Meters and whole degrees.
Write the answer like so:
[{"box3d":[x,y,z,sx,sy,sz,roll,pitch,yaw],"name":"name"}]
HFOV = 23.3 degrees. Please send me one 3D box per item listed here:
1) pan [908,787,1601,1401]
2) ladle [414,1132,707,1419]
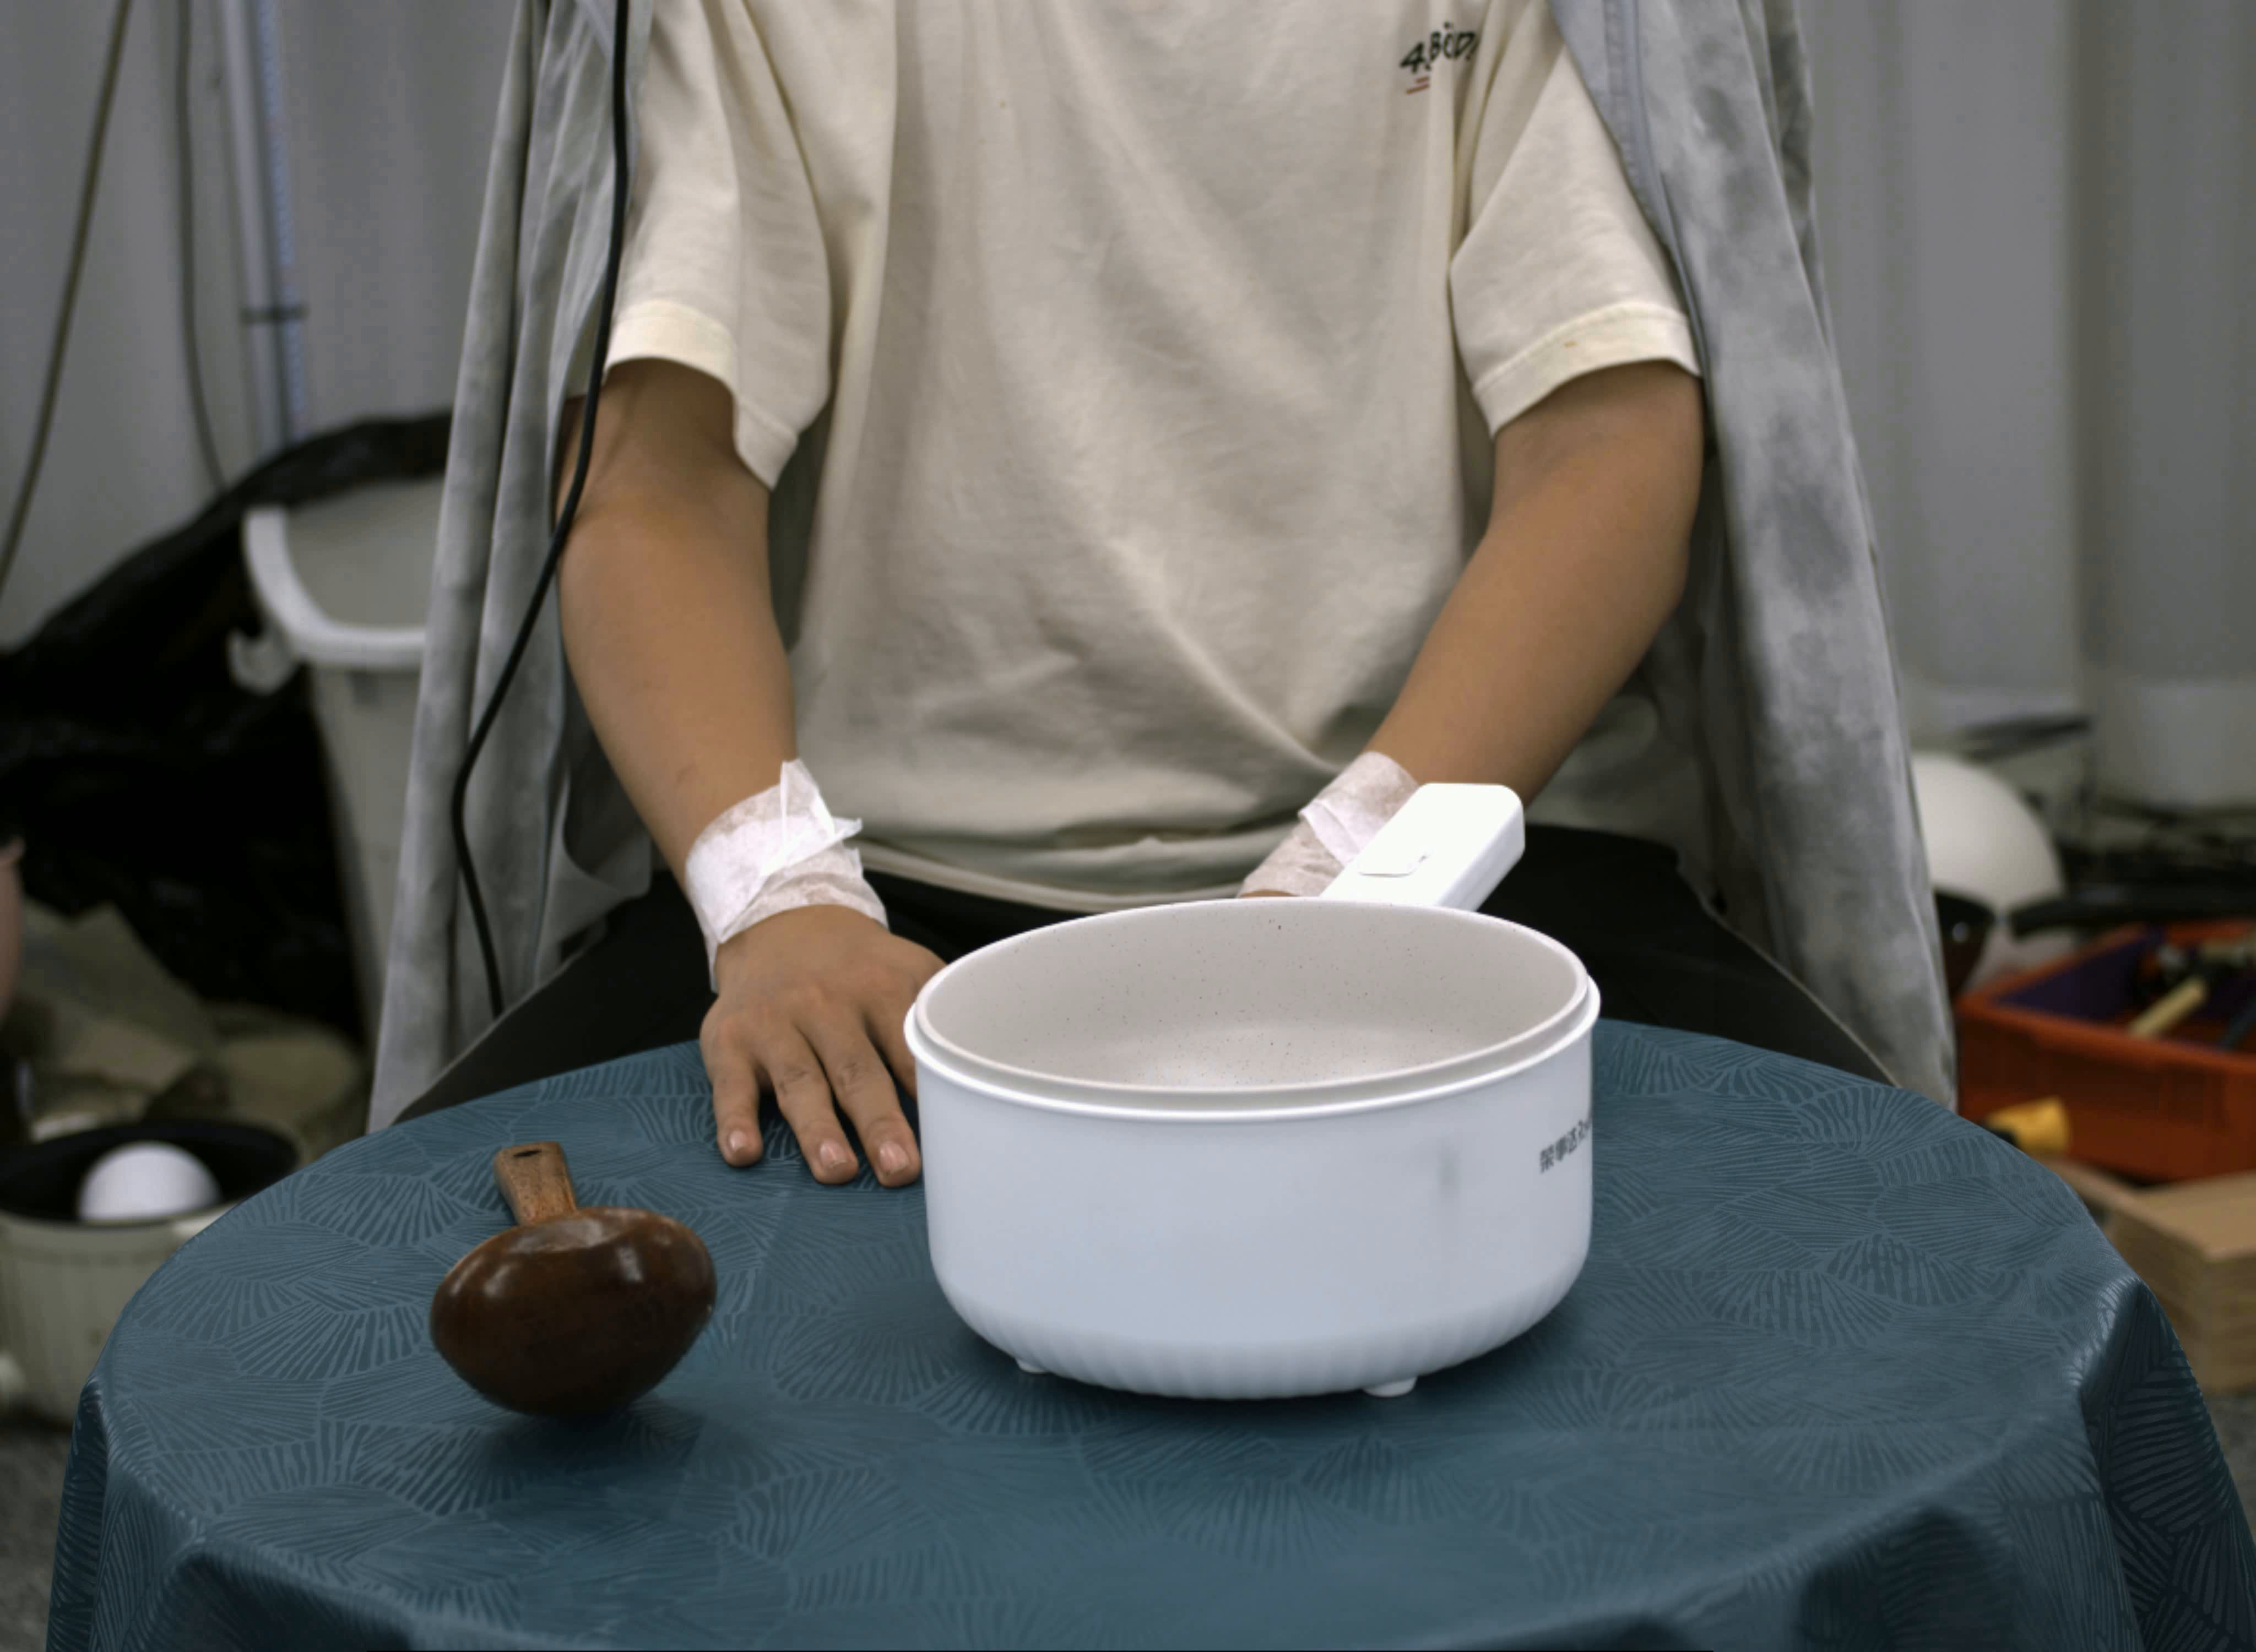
[{"box3d":[0.062,0.077,1.661,0.201,0.102,0.356,1,15,19],"name":"pan"},{"box3d":[-0.171,0.109,1.621,0.081,0.076,0.276,-5,16,-6],"name":"ladle"}]
